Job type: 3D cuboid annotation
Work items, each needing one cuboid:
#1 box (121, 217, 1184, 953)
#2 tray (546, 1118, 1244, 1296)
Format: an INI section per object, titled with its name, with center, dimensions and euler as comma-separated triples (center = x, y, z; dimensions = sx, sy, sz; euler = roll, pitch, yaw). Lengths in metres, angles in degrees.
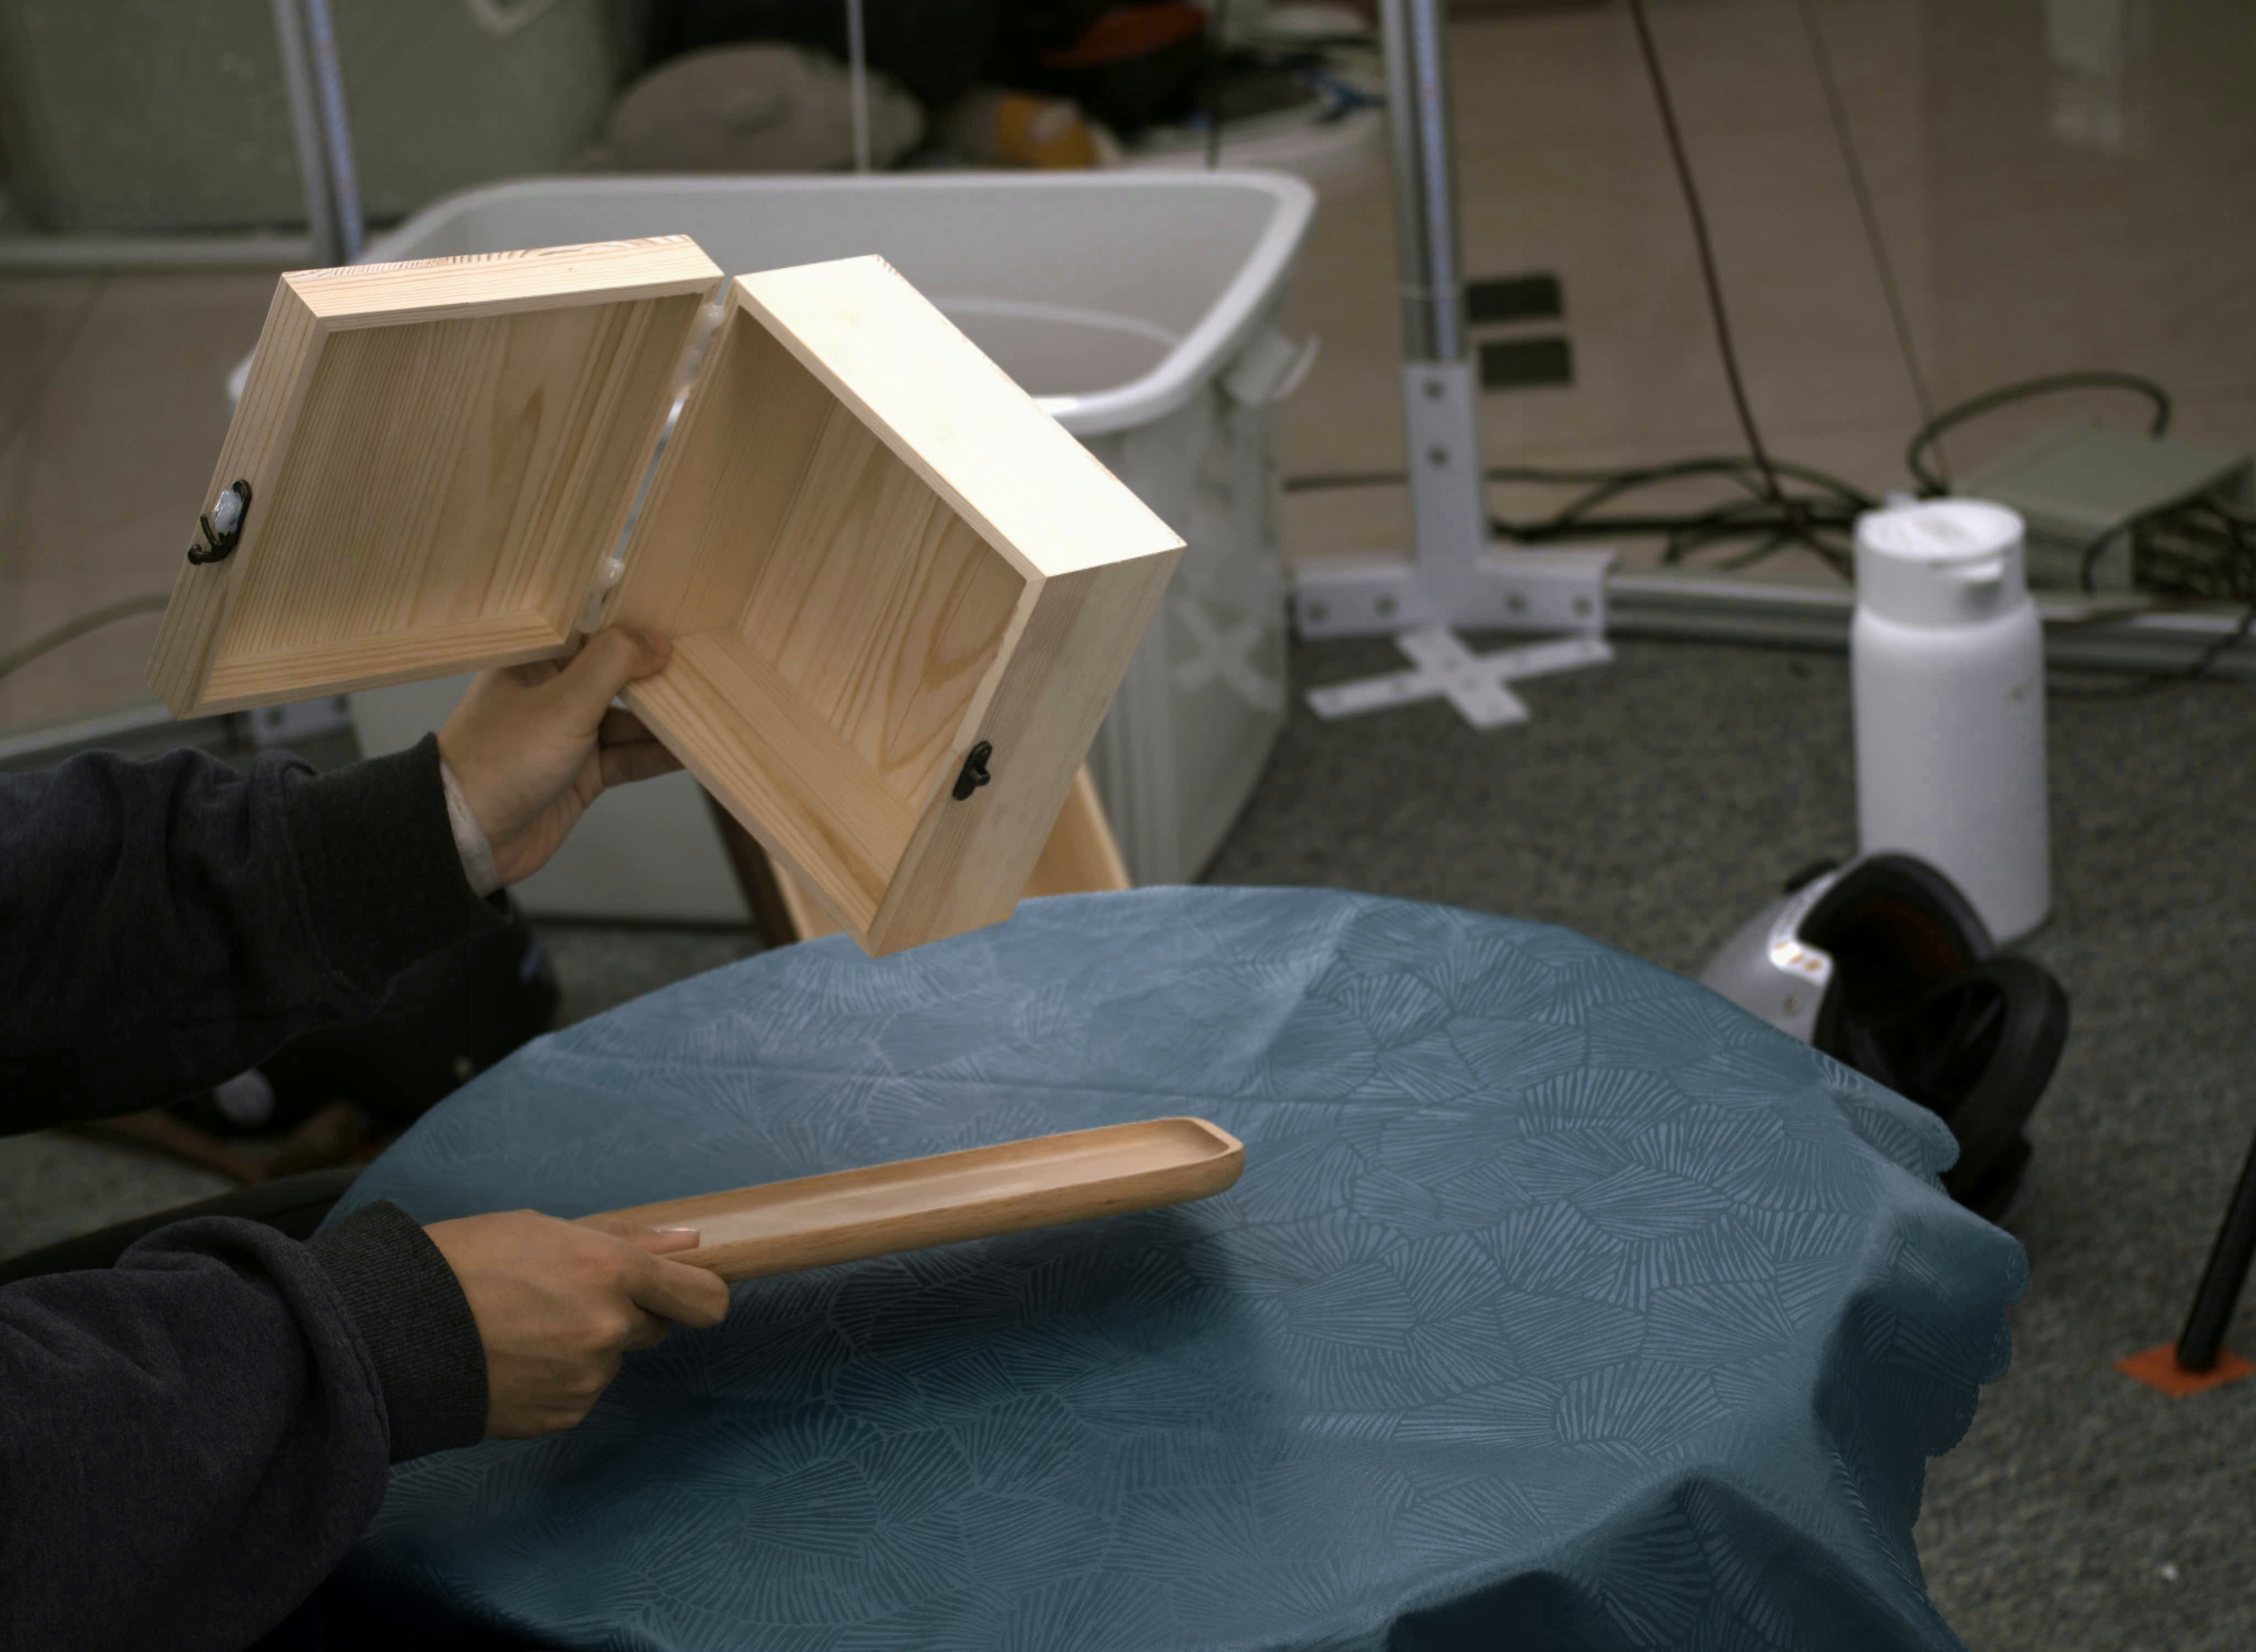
[box]
center = -0.174, -0.088, 2.038
dimensions = 0.252, 0.185, 0.262
euler = -18, 52, -43
[tray]
center = -0.085, 0.139, 2.073
dimensions = 0.250, 0.023, 0.130
euler = -10, 3, -9
